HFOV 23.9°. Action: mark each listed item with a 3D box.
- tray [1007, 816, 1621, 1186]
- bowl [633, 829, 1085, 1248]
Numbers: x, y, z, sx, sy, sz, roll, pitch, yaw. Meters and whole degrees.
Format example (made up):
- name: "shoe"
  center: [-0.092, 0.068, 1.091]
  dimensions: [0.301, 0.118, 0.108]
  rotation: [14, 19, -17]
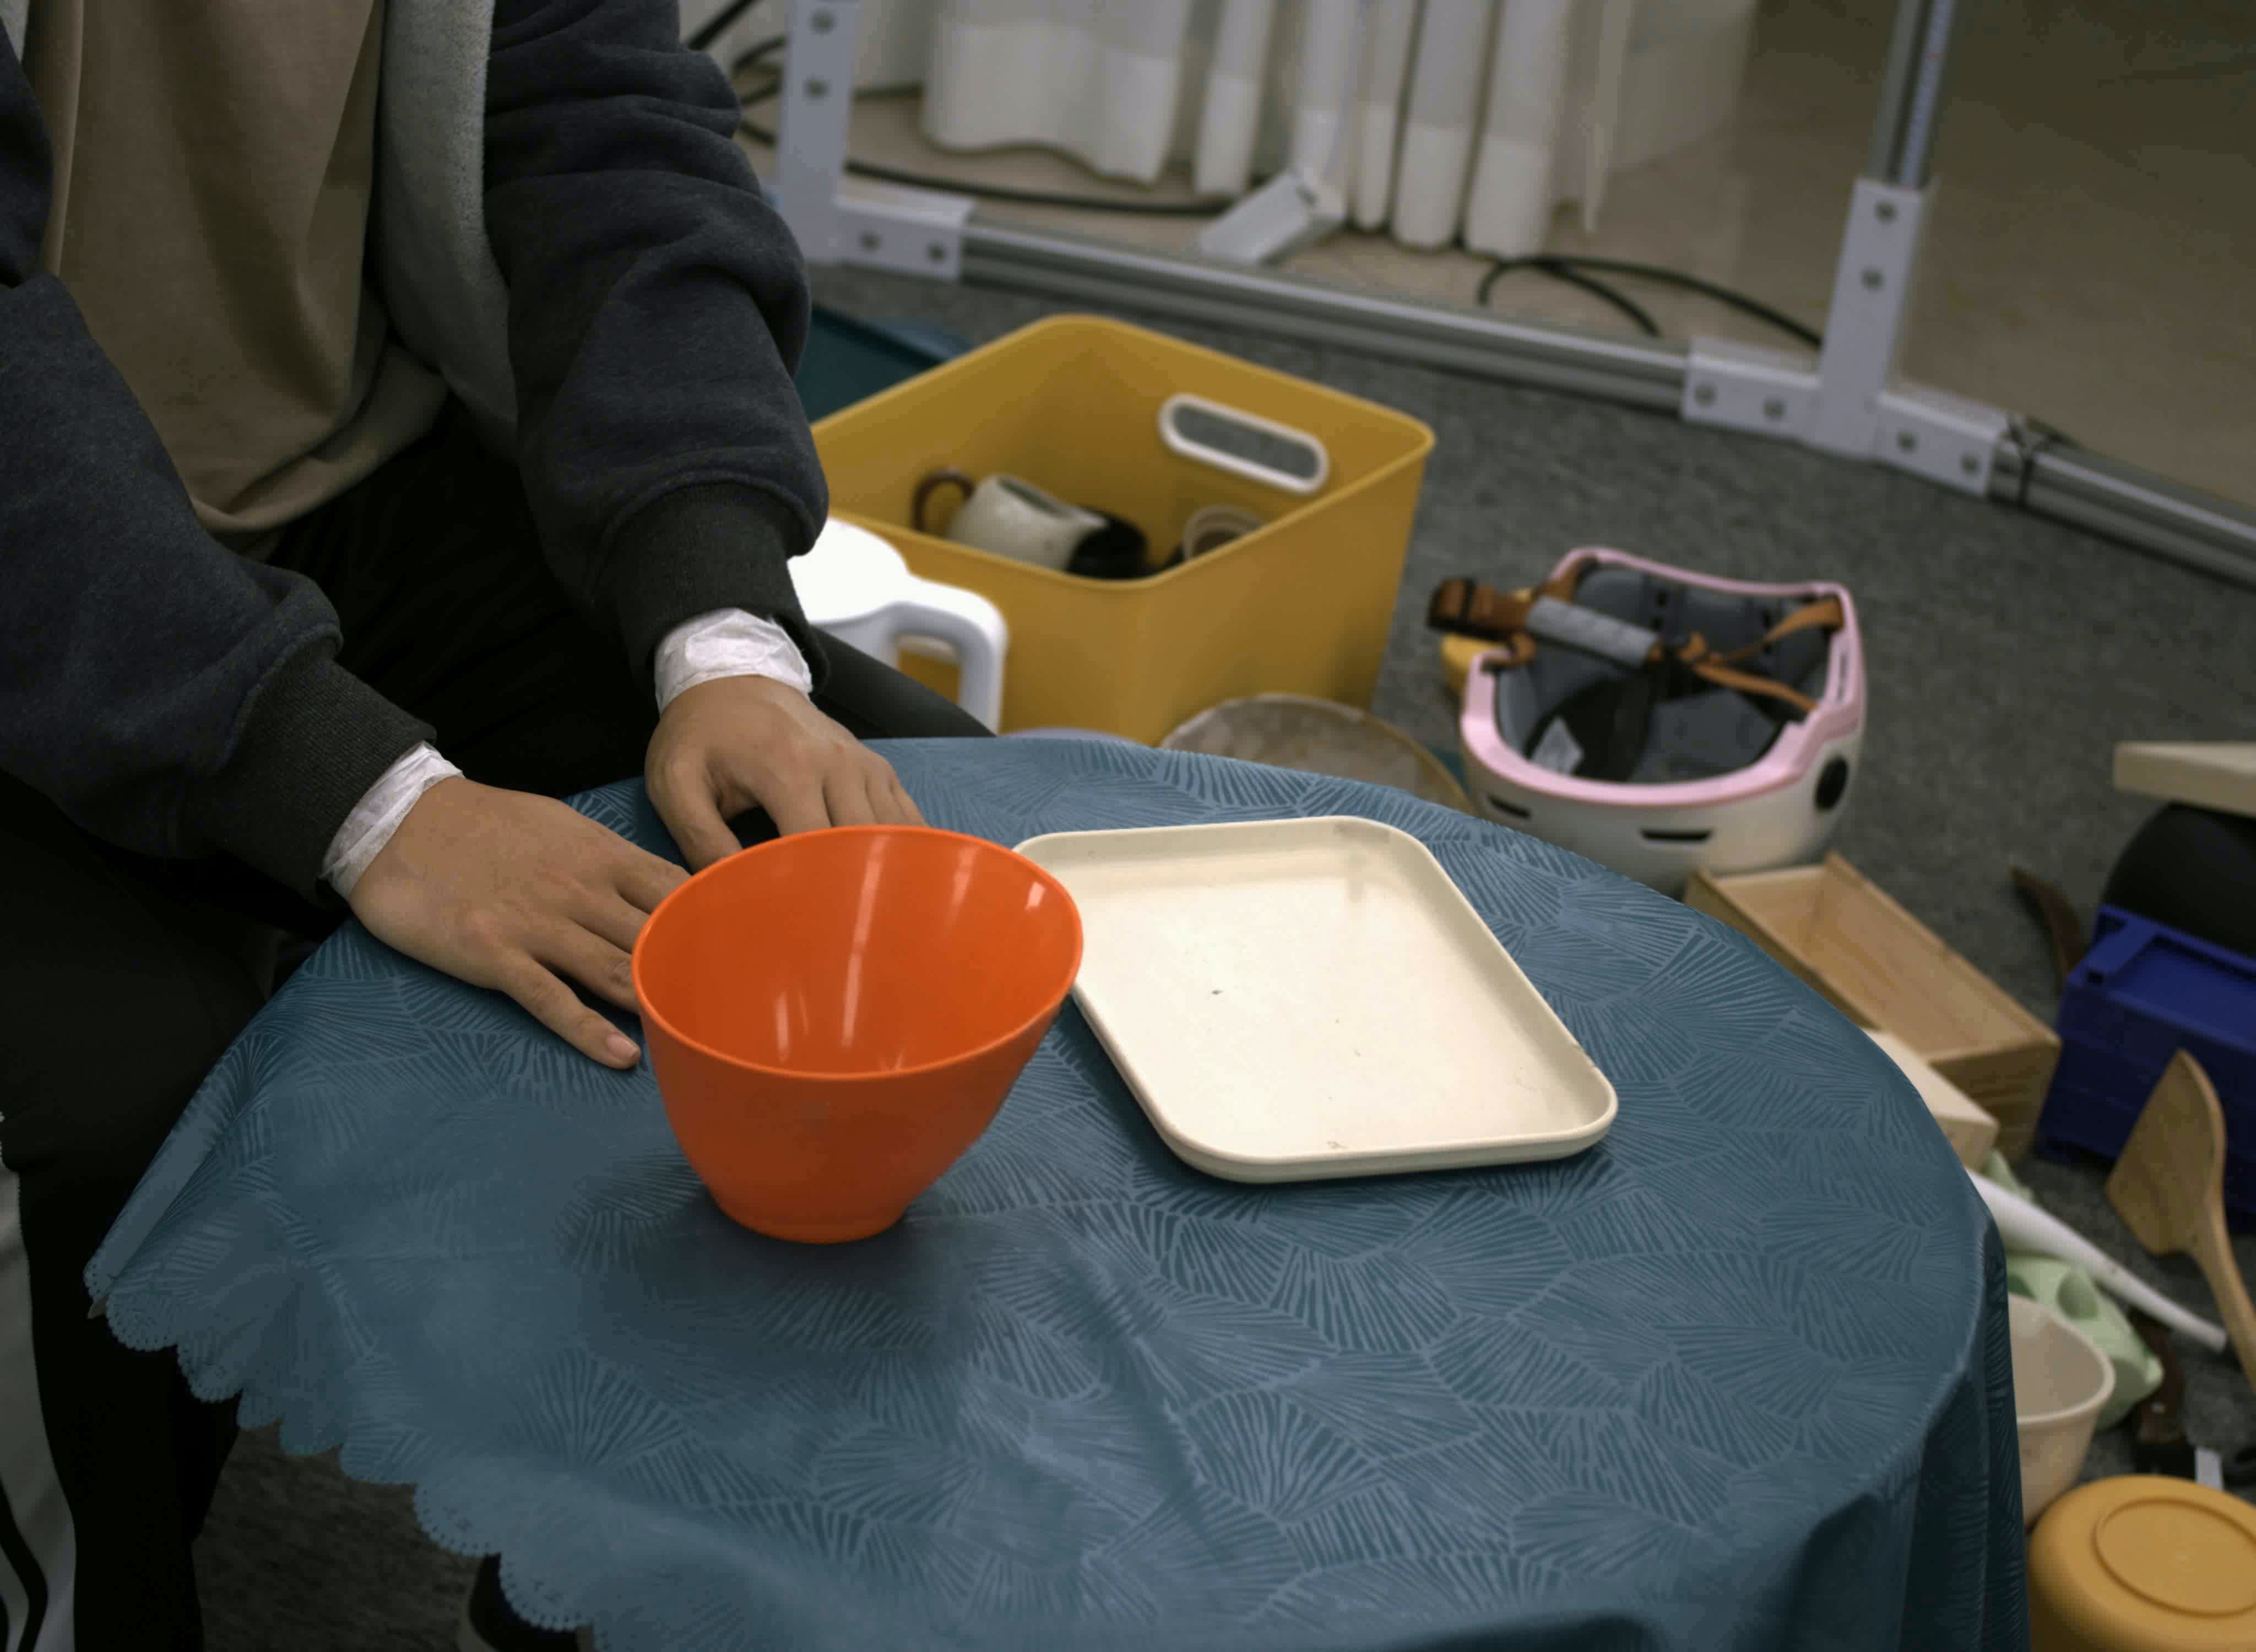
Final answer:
- name: "tray"
  center: [0.062, 0.061, 1.918]
  dimensions: [0.170, 0.017, 0.242]
  rotation: [-4, 29, -19]
- name: "bowl"
  center: [-0.093, 0.077, 1.762]
  dimensions: [0.147, 0.104, 0.149]
  rotation: [6, 27, -4]
